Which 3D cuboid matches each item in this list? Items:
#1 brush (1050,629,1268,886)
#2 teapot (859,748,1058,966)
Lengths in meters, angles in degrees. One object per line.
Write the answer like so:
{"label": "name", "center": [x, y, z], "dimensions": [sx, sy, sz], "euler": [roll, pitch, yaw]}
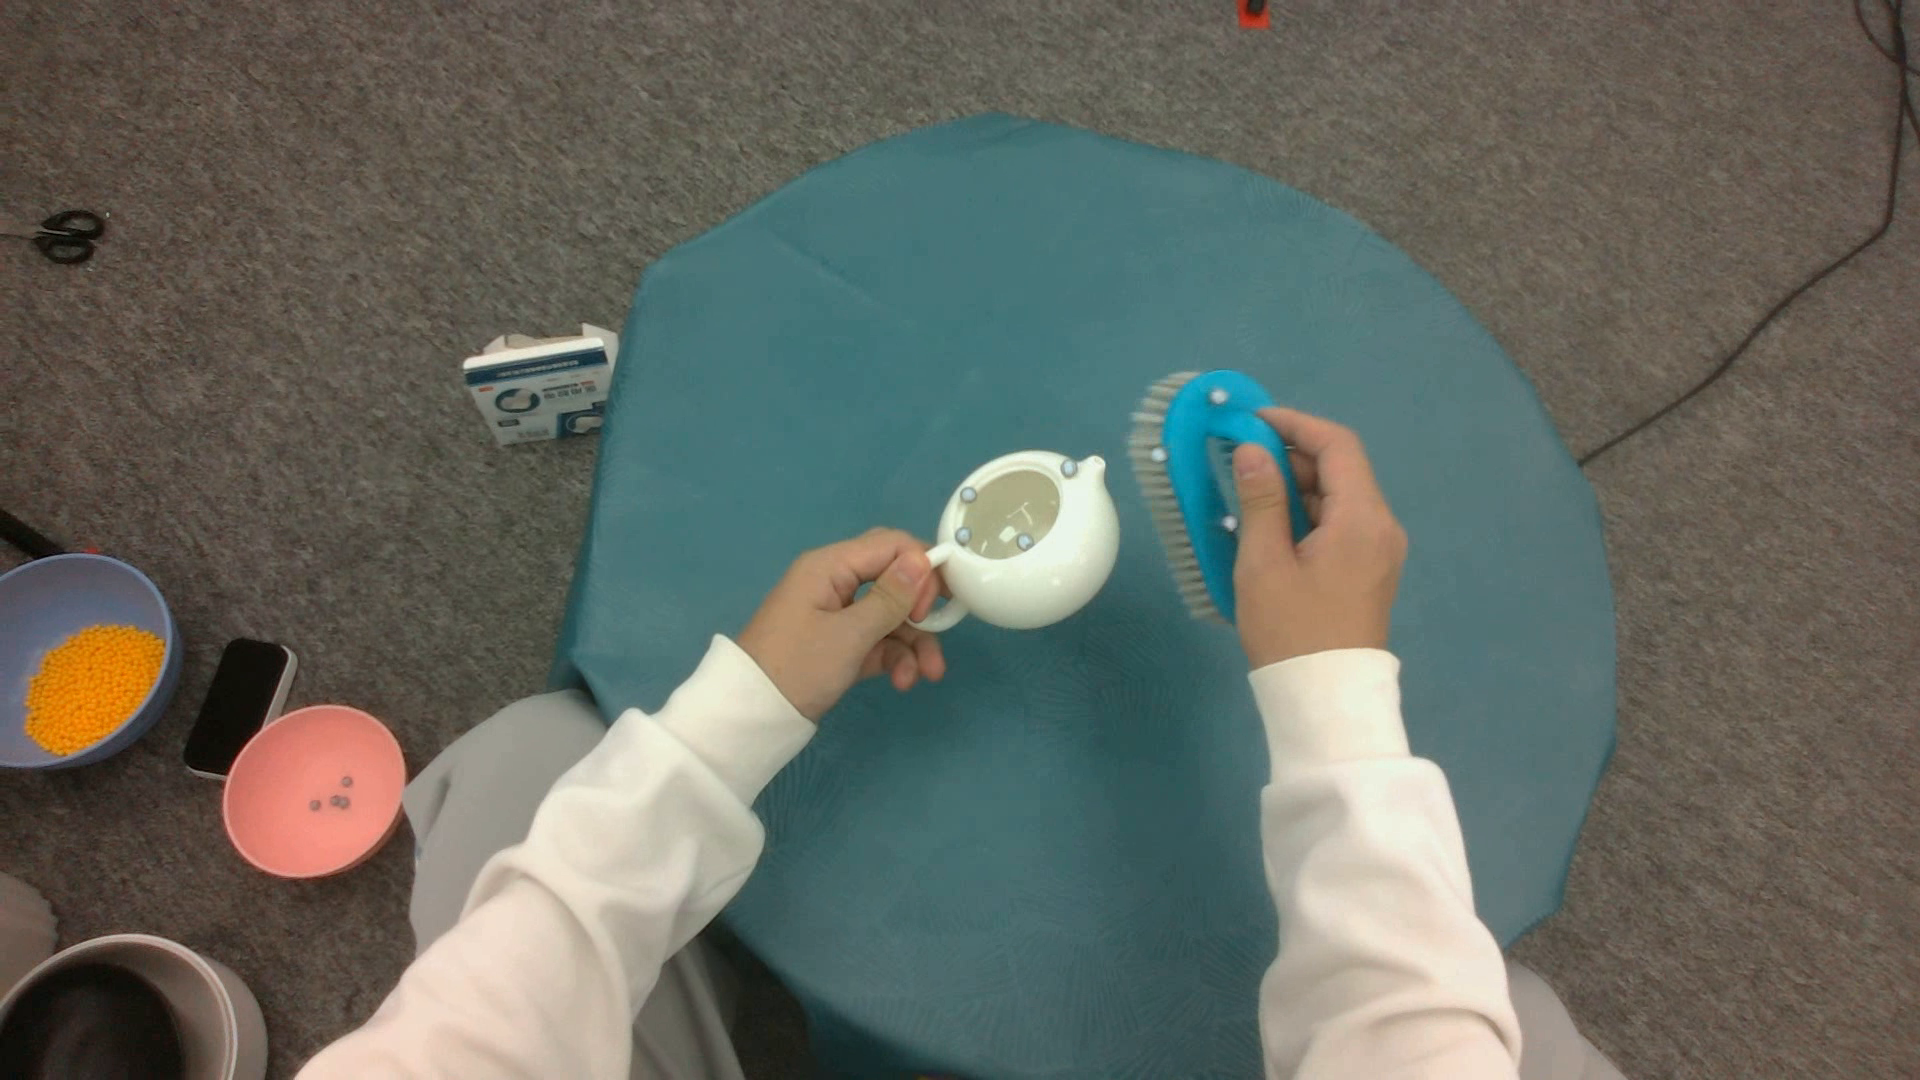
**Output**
{"label": "brush", "center": [0.112, 0.107, 0.706], "dimensions": [0.085, 0.063, 0.142], "euler": [-33, 91, -33]}
{"label": "teapot", "center": [-0.002, 0.163, 0.696], "dimensions": [0.127, 0.056, 0.093], "euler": [-50, 43, -8]}
